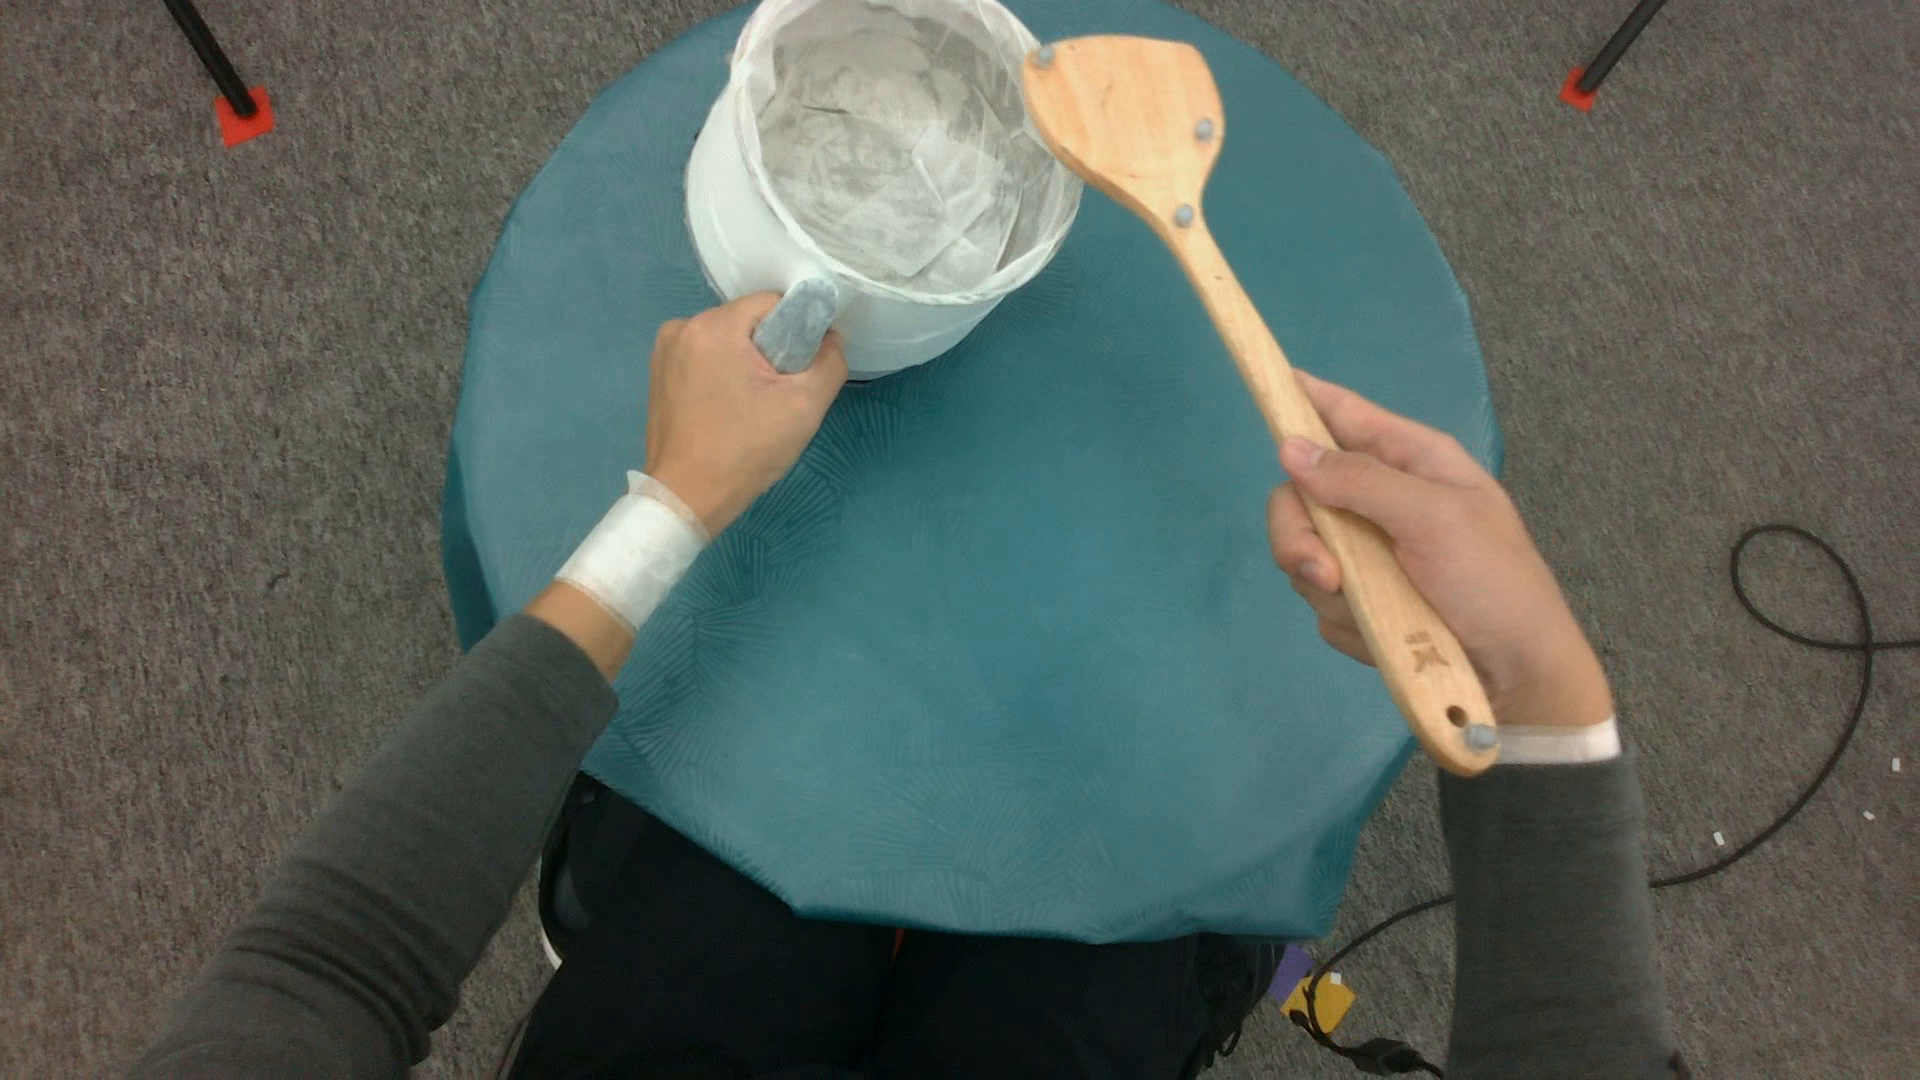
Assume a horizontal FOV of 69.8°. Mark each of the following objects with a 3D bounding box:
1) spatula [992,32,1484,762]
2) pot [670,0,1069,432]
[{"bbox_3d":[0.112,-0.084,0.560,0.096,0.018,0.392,-11,56,-17],"label":"spatula"},{"bbox_3d":[-0.062,-0.163,0.695,0.179,0.136,0.234,31,67,-15],"label":"pot"}]
